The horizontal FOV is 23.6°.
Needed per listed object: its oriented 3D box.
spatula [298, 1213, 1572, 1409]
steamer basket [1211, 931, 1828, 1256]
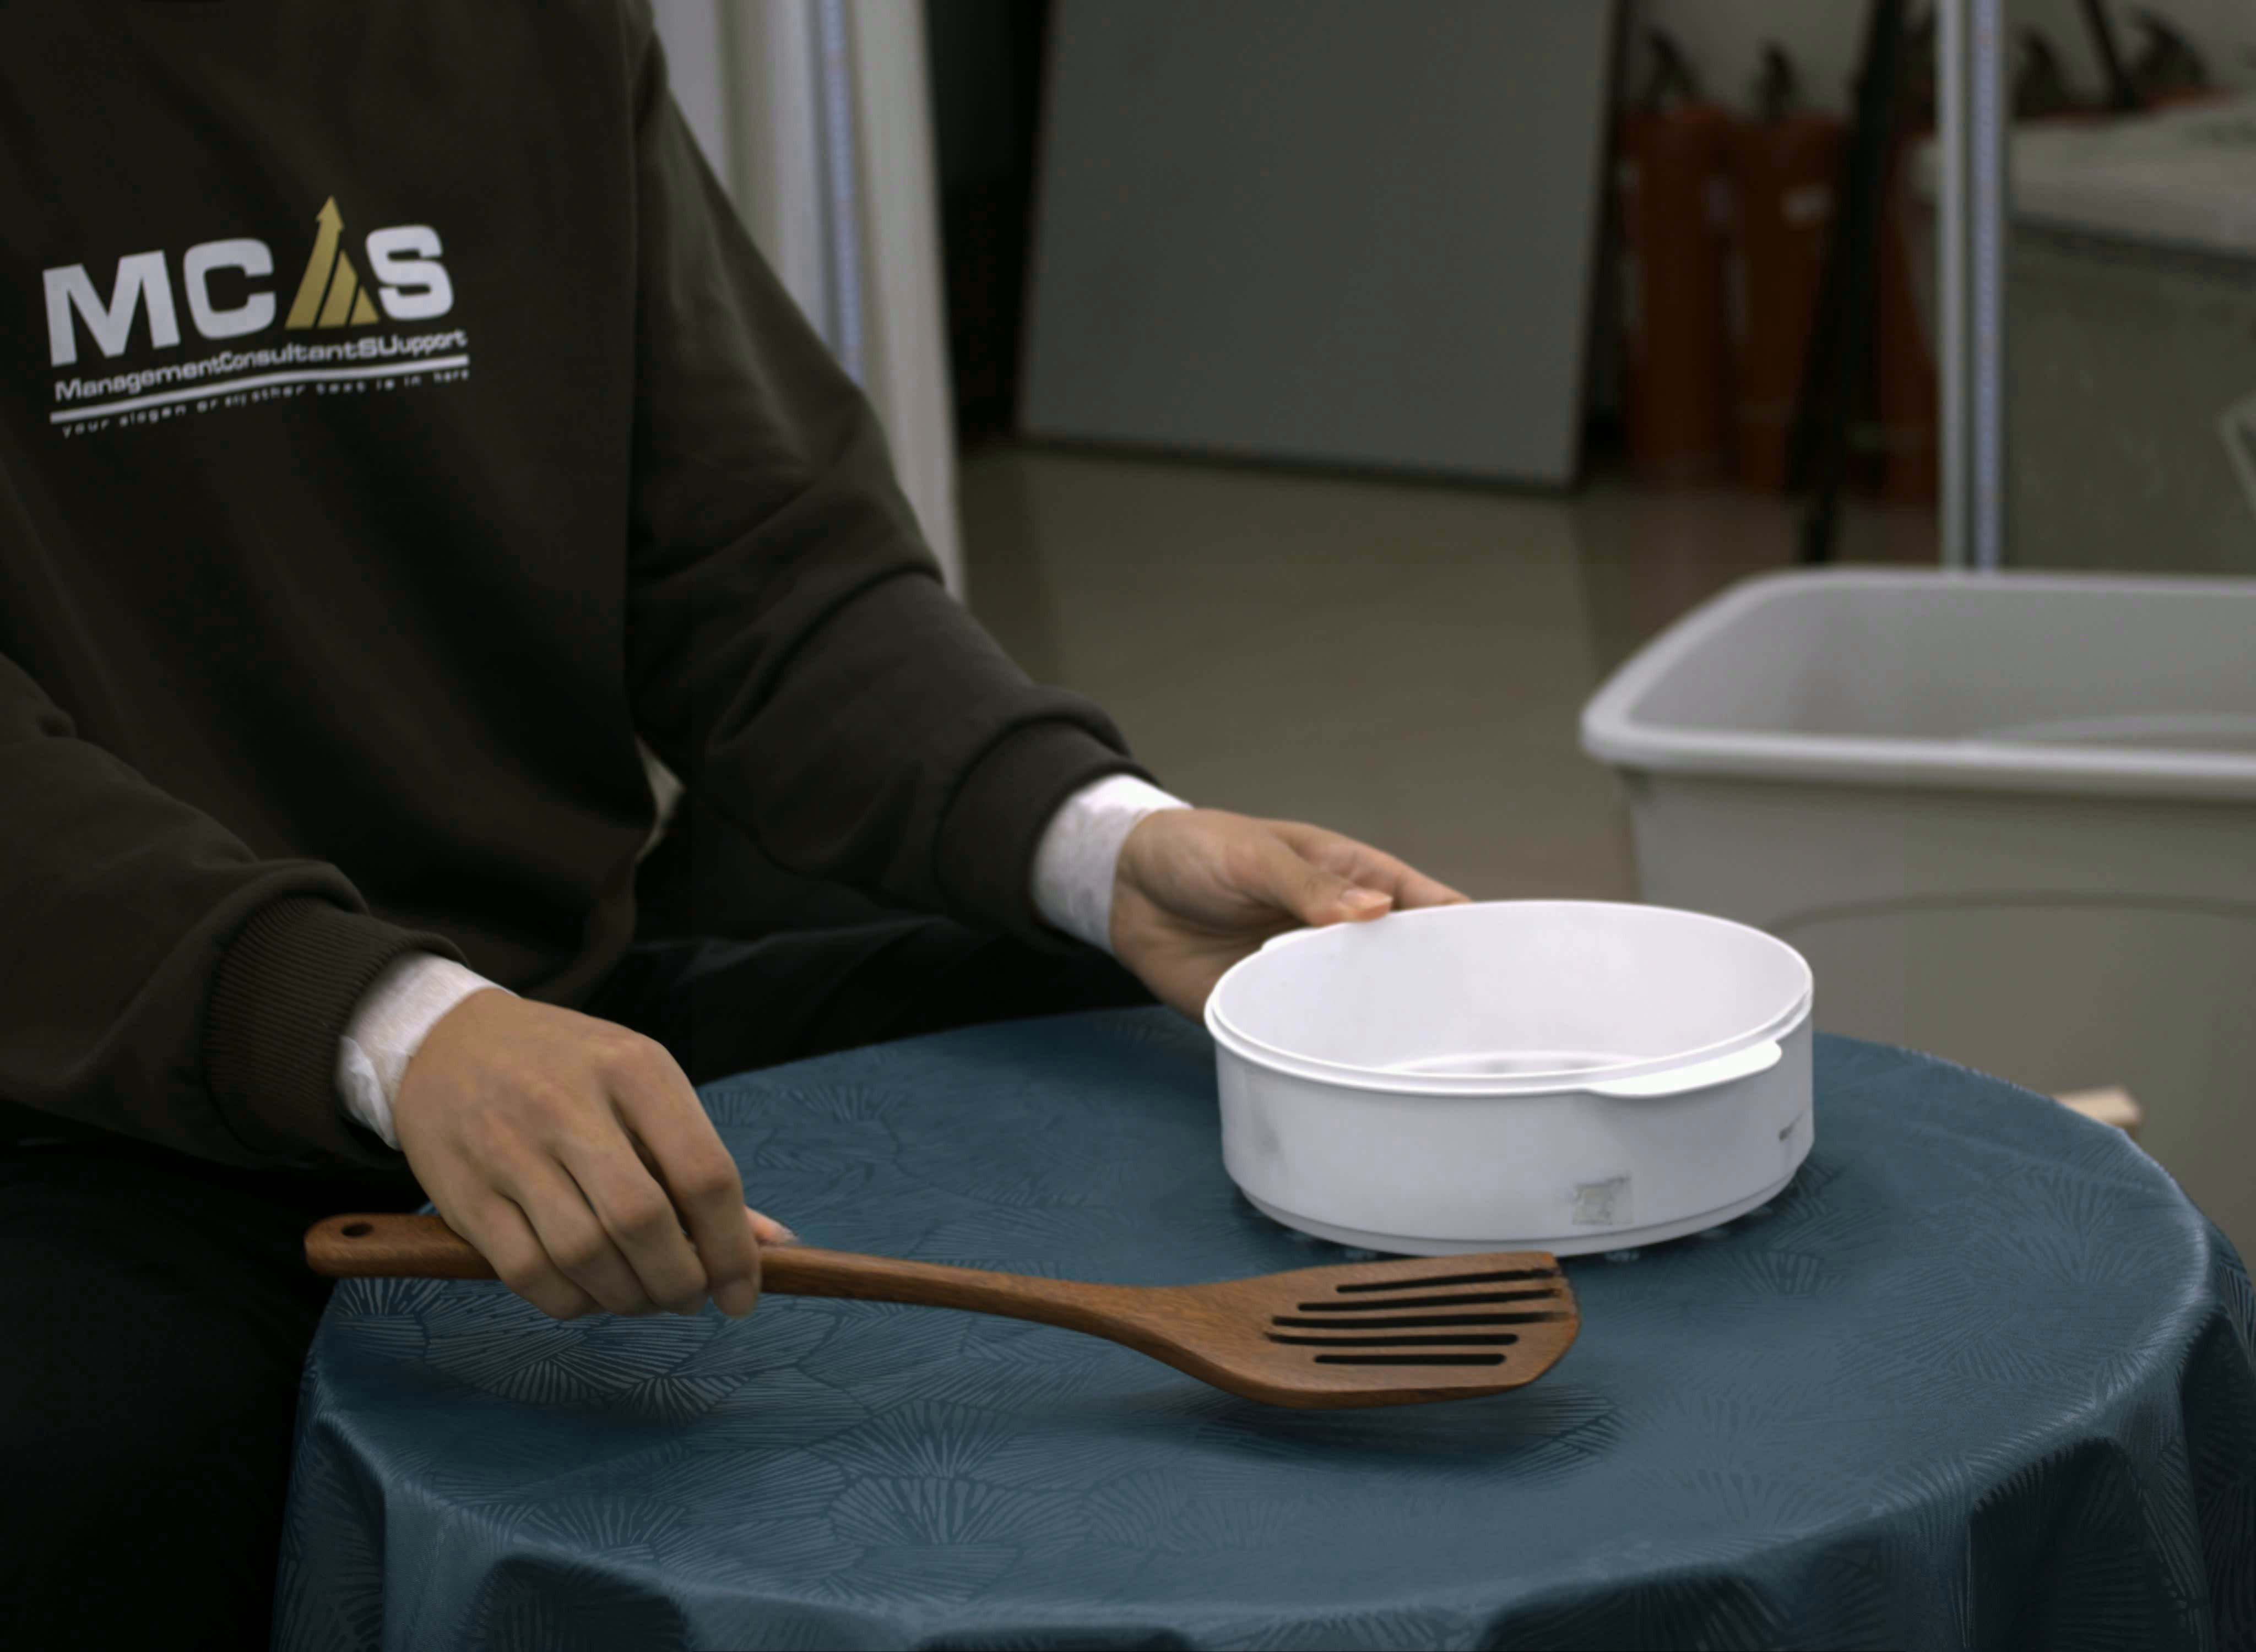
[{"bbox_3d":[-0.061,0.137,1.579,0.383,0.024,0.085,4,24,12],"label":"spatula"},{"bbox_3d":[0.127,0.087,1.743,0.197,0.070,0.233,-9,12,-28],"label":"steamer basket"}]
